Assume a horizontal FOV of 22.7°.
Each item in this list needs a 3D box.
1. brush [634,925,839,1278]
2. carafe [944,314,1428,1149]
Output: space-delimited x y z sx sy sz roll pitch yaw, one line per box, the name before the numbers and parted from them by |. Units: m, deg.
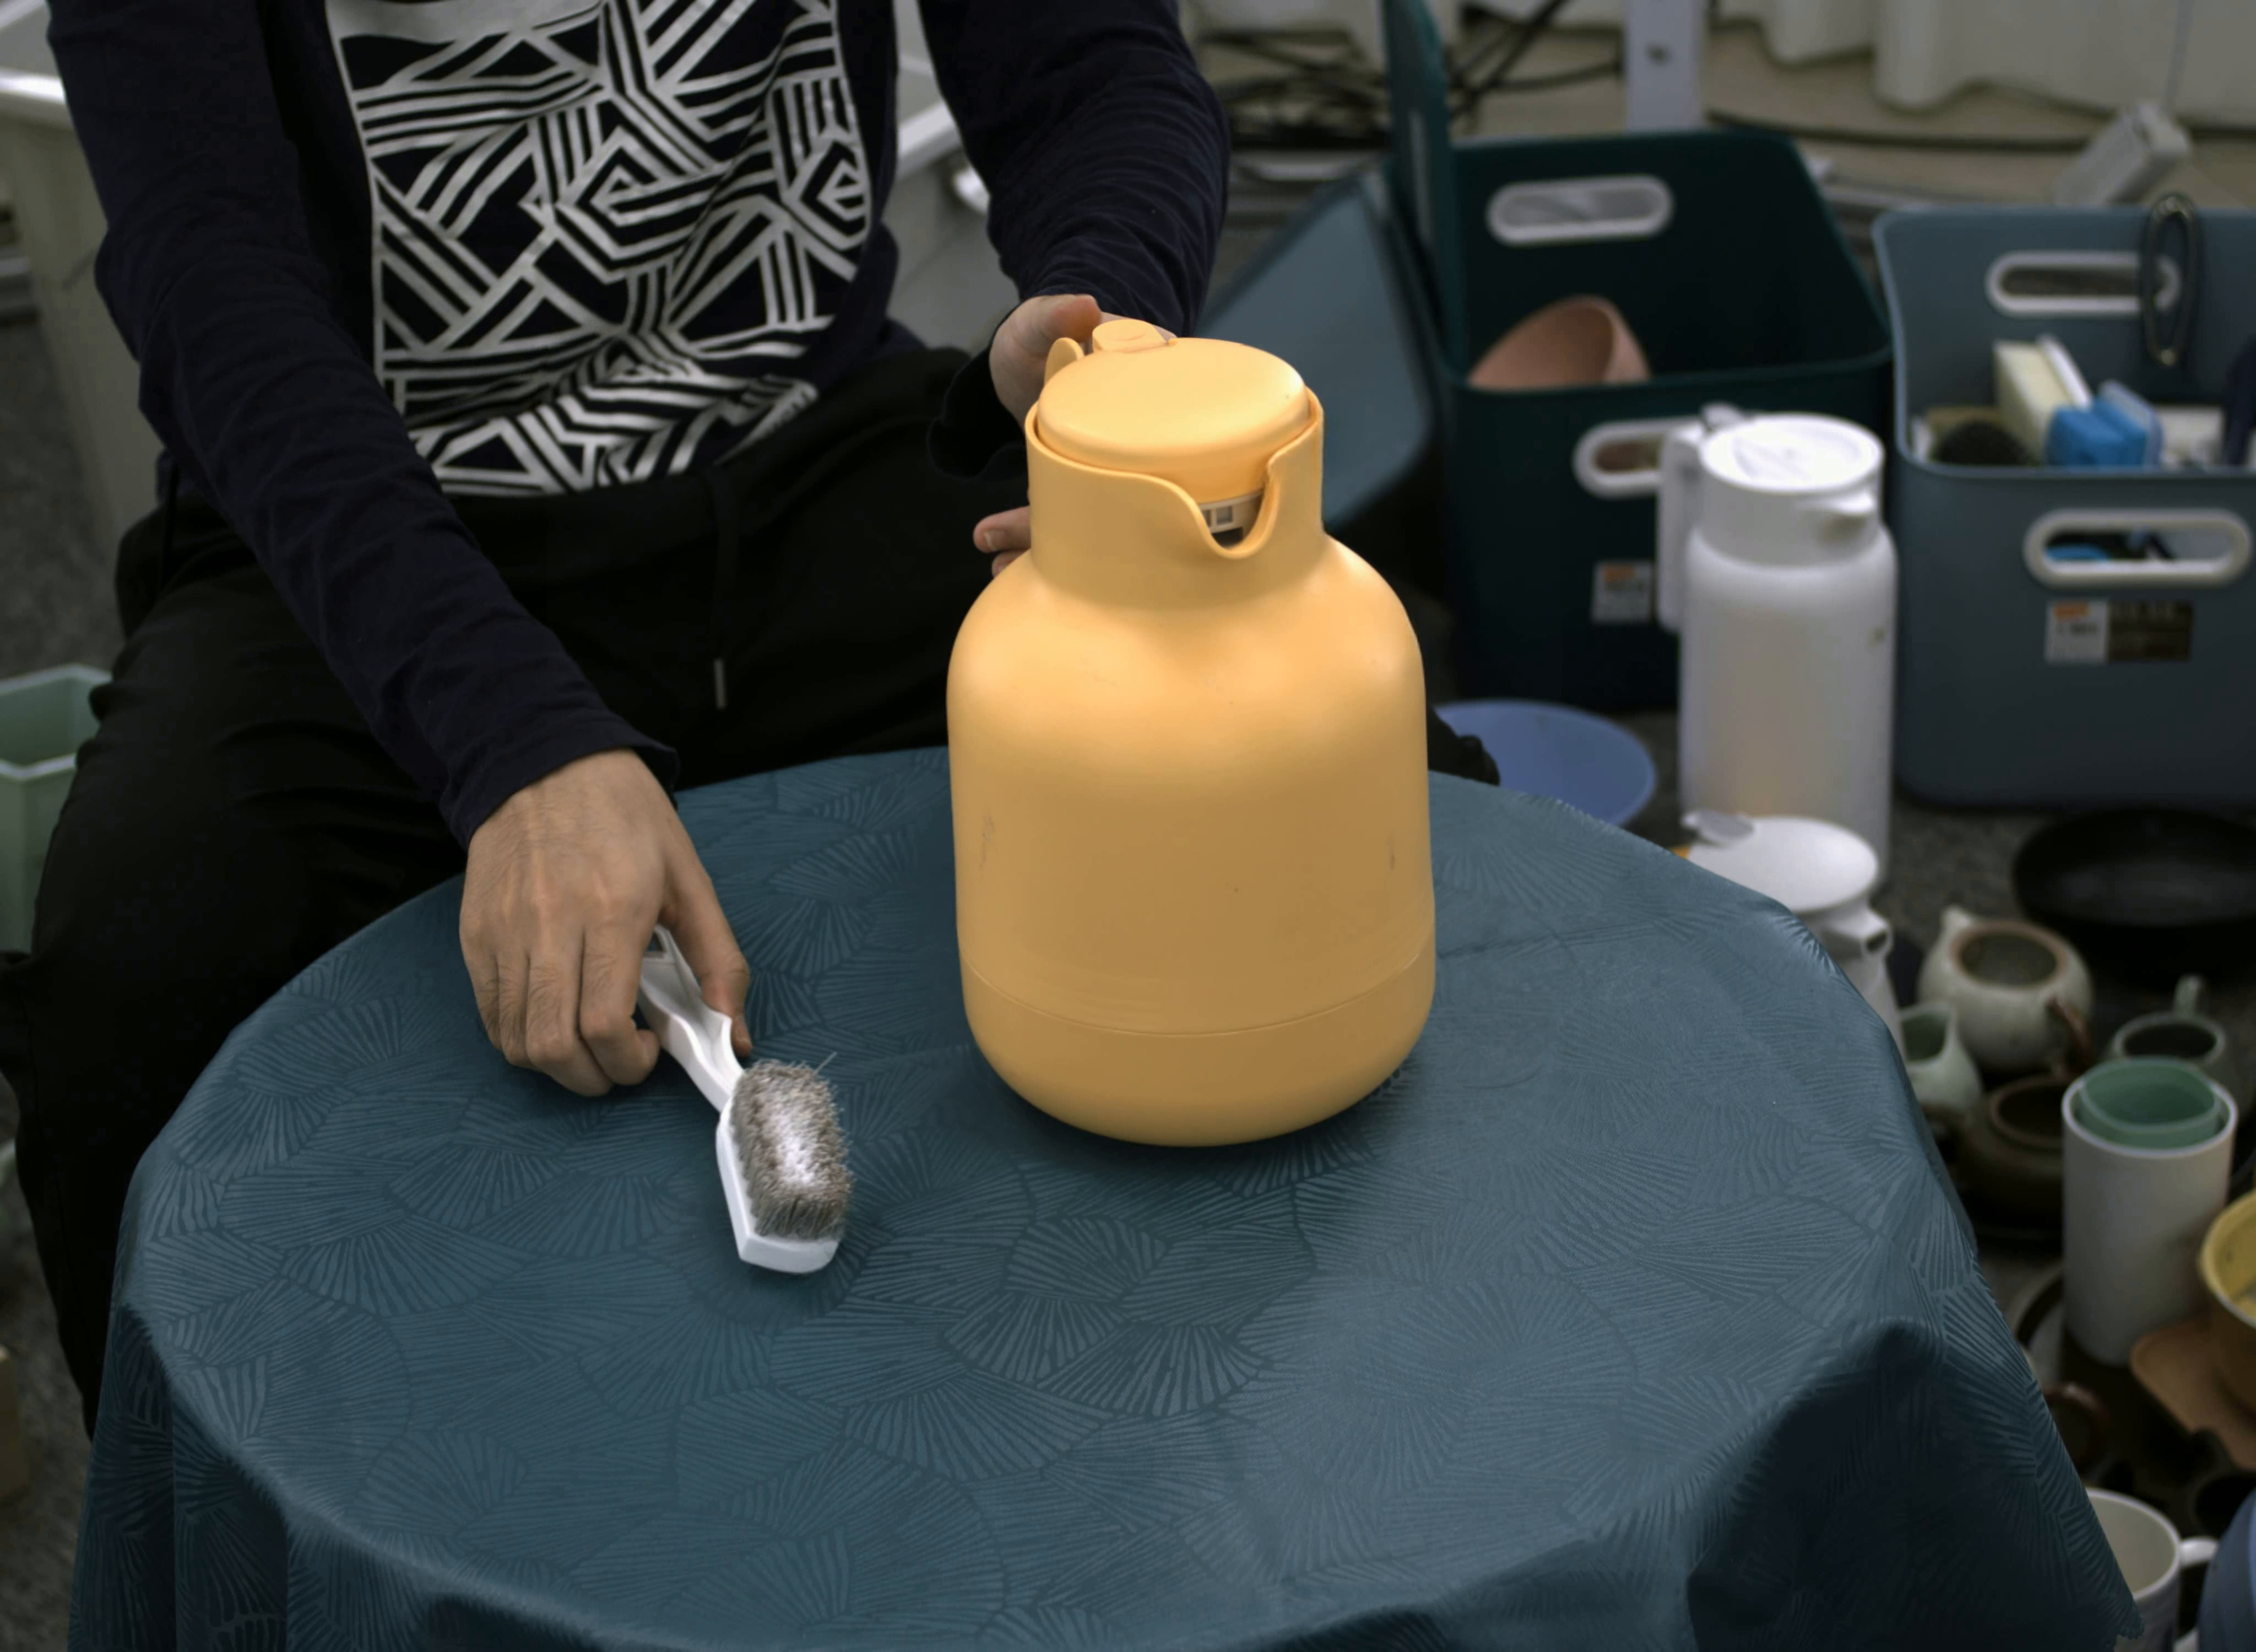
brush | -0.136 0.075 1.904 0.034 0.050 0.246 -1 27 -15
carafe | 0.015 -0.041 1.893 0.163 0.257 0.204 -7 28 -14
